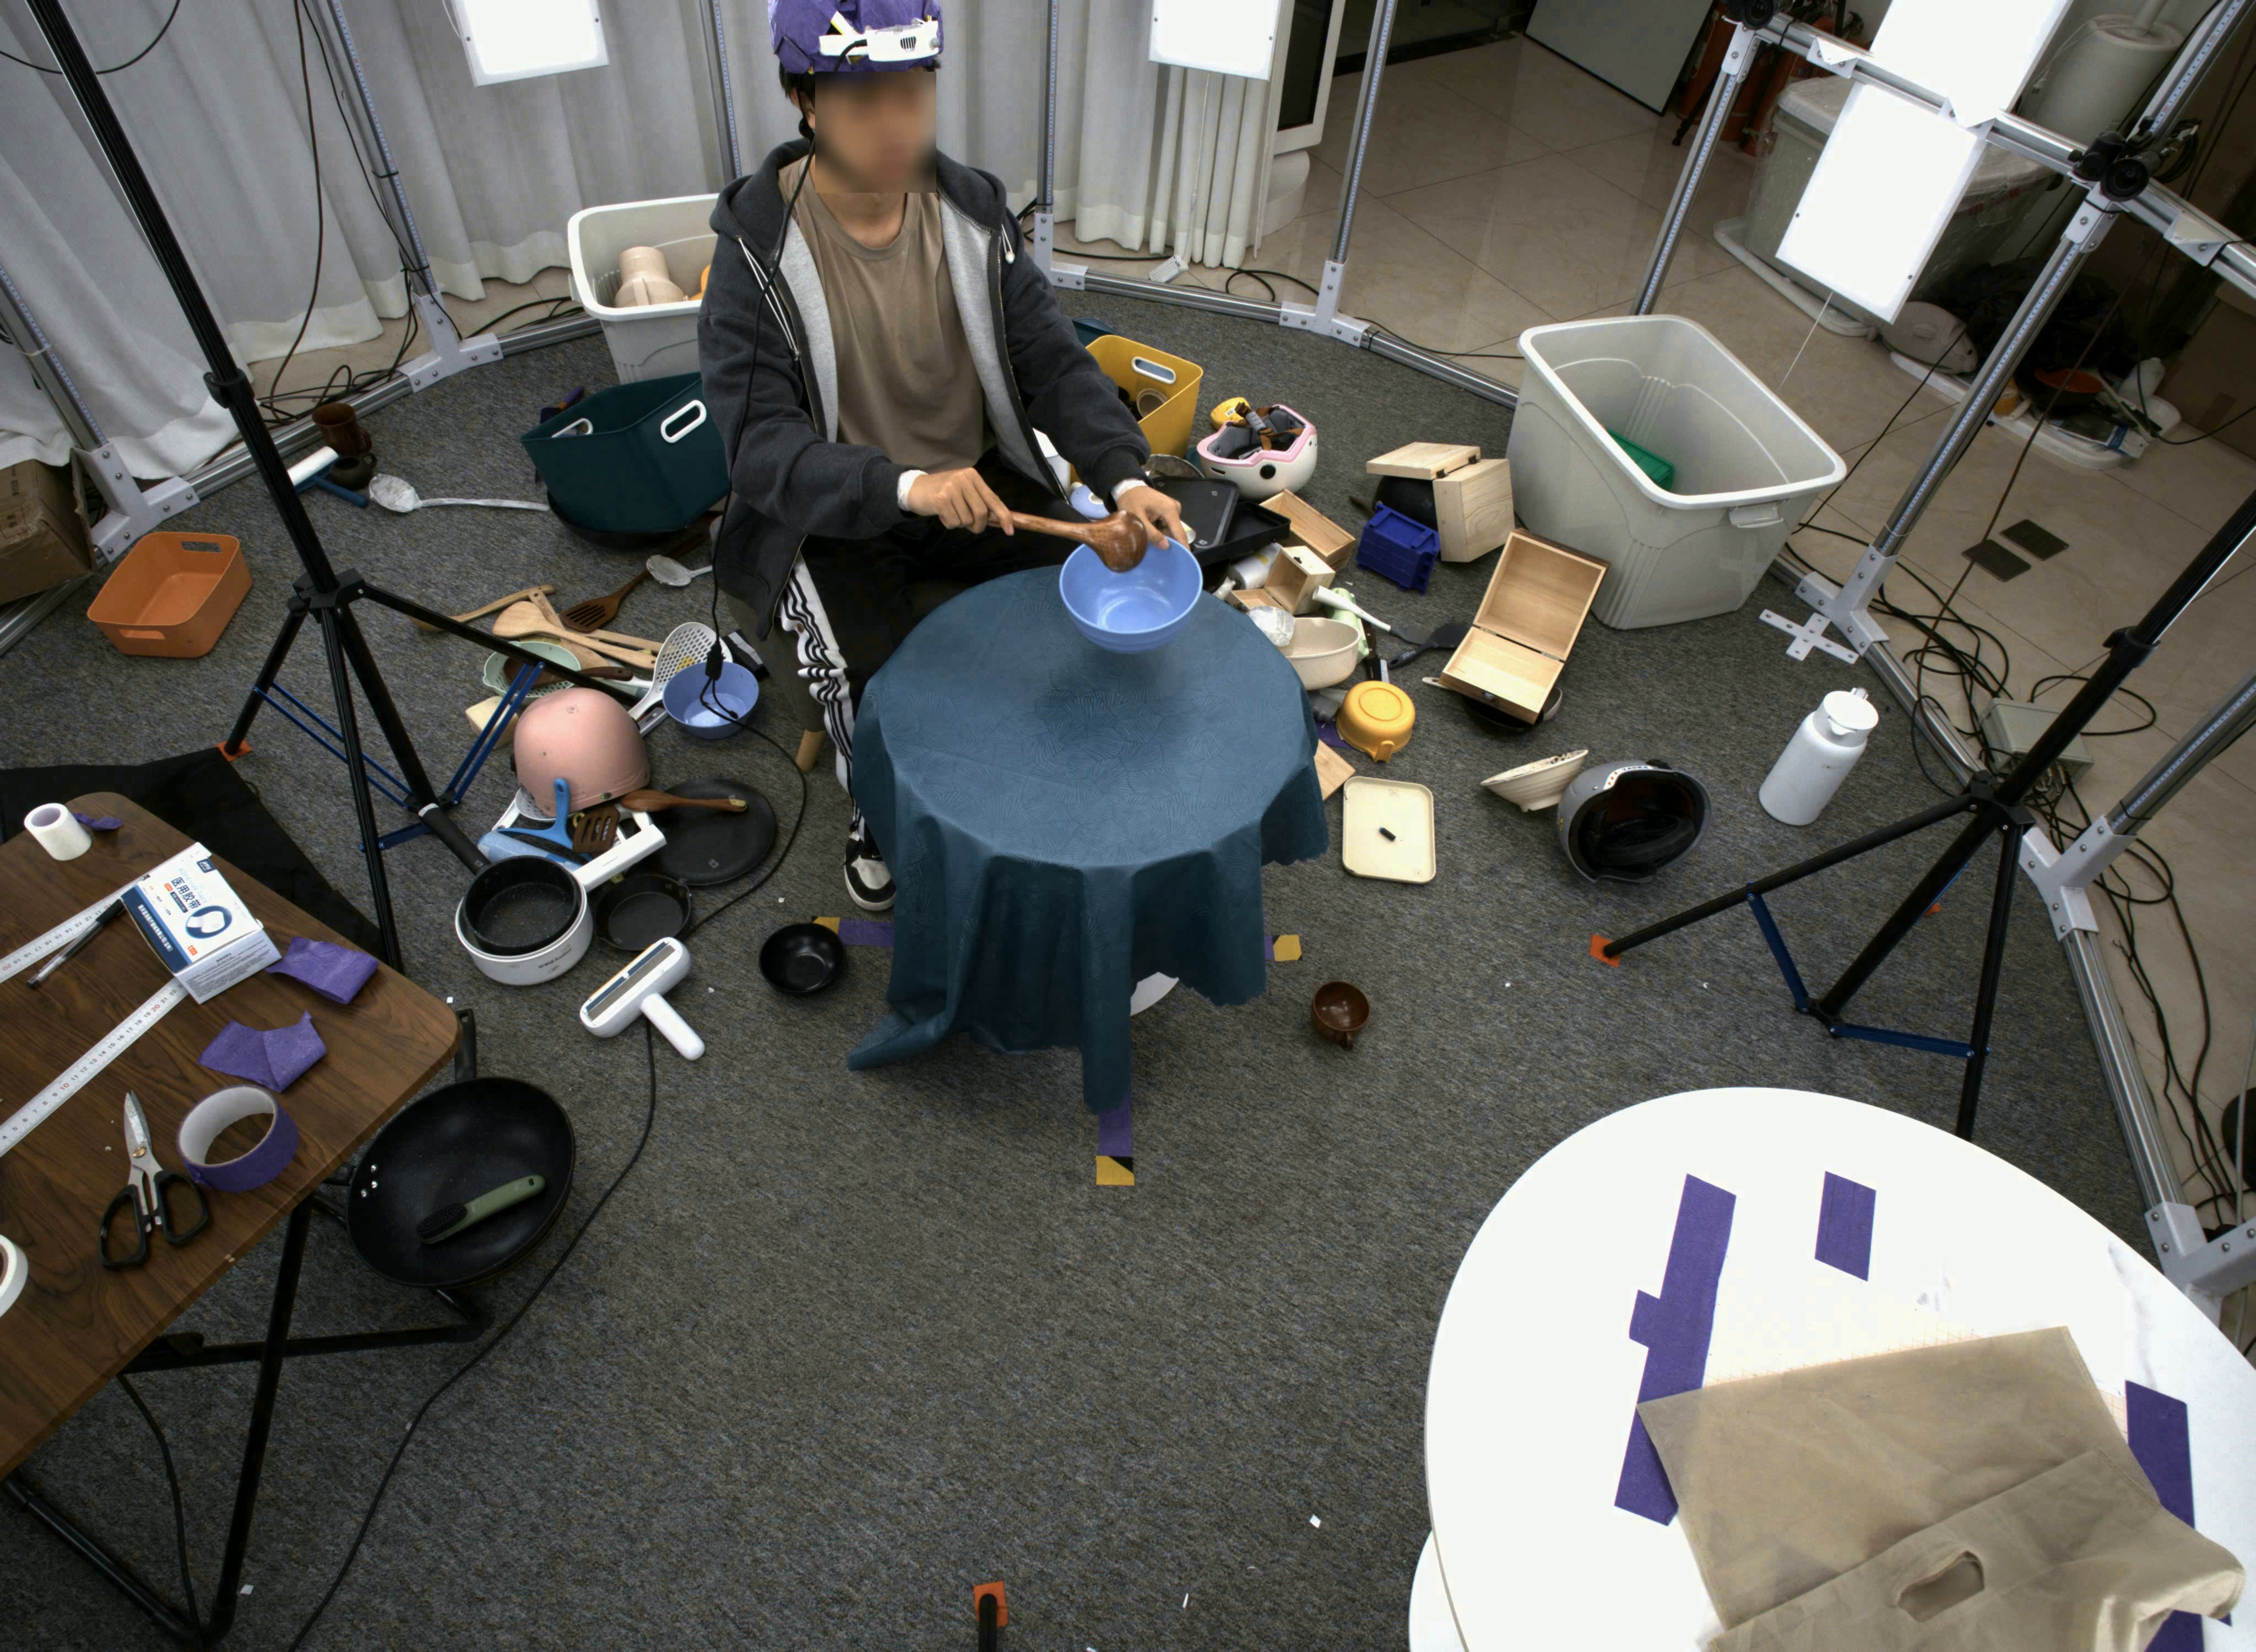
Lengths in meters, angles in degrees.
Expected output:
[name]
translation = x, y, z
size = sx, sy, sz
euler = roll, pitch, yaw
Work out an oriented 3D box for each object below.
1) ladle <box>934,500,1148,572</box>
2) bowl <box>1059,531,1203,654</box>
[ladle]
translation = -0.110, -0.391, 1.682
size = 0.274, 0.082, 0.077
euler = 10, 4, 4
[bowl]
translation = 0.005, -0.309, 1.789
size = 0.196, 0.093, 0.201
euler = -2, 54, 2
